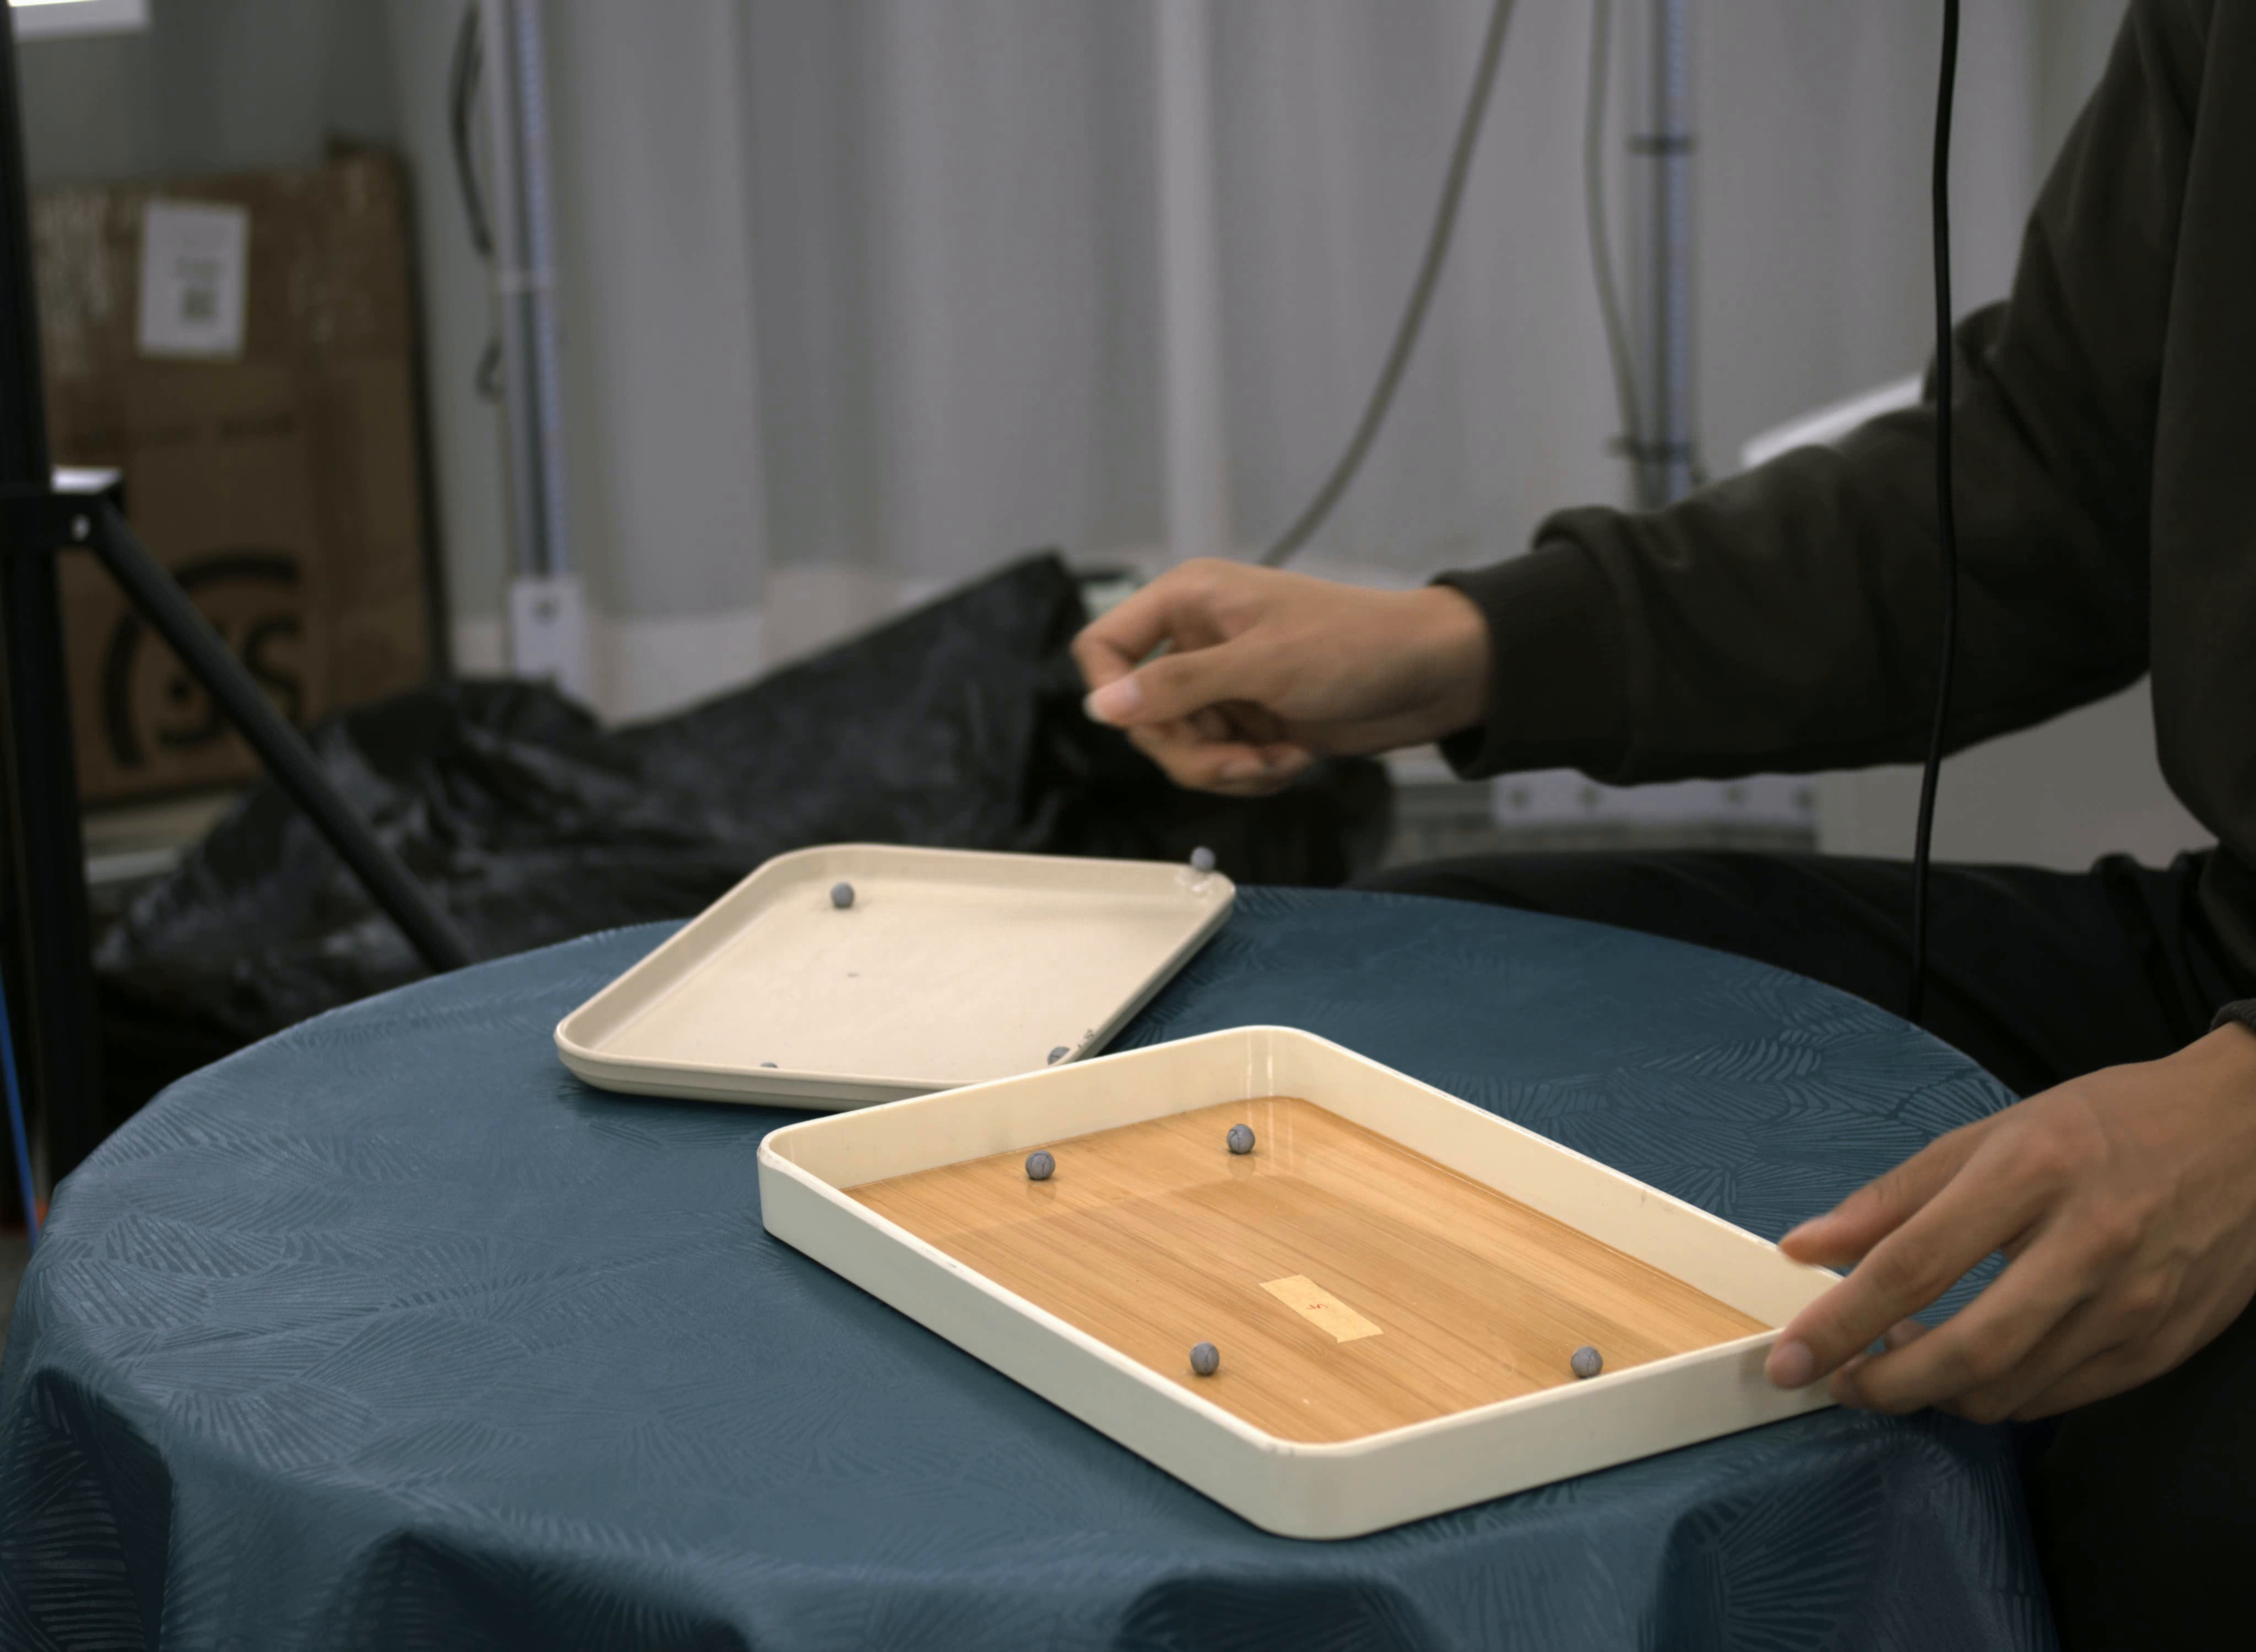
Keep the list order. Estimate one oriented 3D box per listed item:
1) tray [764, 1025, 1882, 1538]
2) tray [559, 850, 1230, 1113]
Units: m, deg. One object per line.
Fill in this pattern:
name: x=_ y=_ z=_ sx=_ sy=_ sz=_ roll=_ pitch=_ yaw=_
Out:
tray: x=0.047 y=0.120 z=1.464 sx=0.187 sy=0.027 sz=0.307 roll=-11 pitch=18 yaw=-29
tray: x=-0.072 y=0.051 z=1.741 sx=0.173 sy=0.017 sz=0.237 roll=2 pitch=17 yaw=18
